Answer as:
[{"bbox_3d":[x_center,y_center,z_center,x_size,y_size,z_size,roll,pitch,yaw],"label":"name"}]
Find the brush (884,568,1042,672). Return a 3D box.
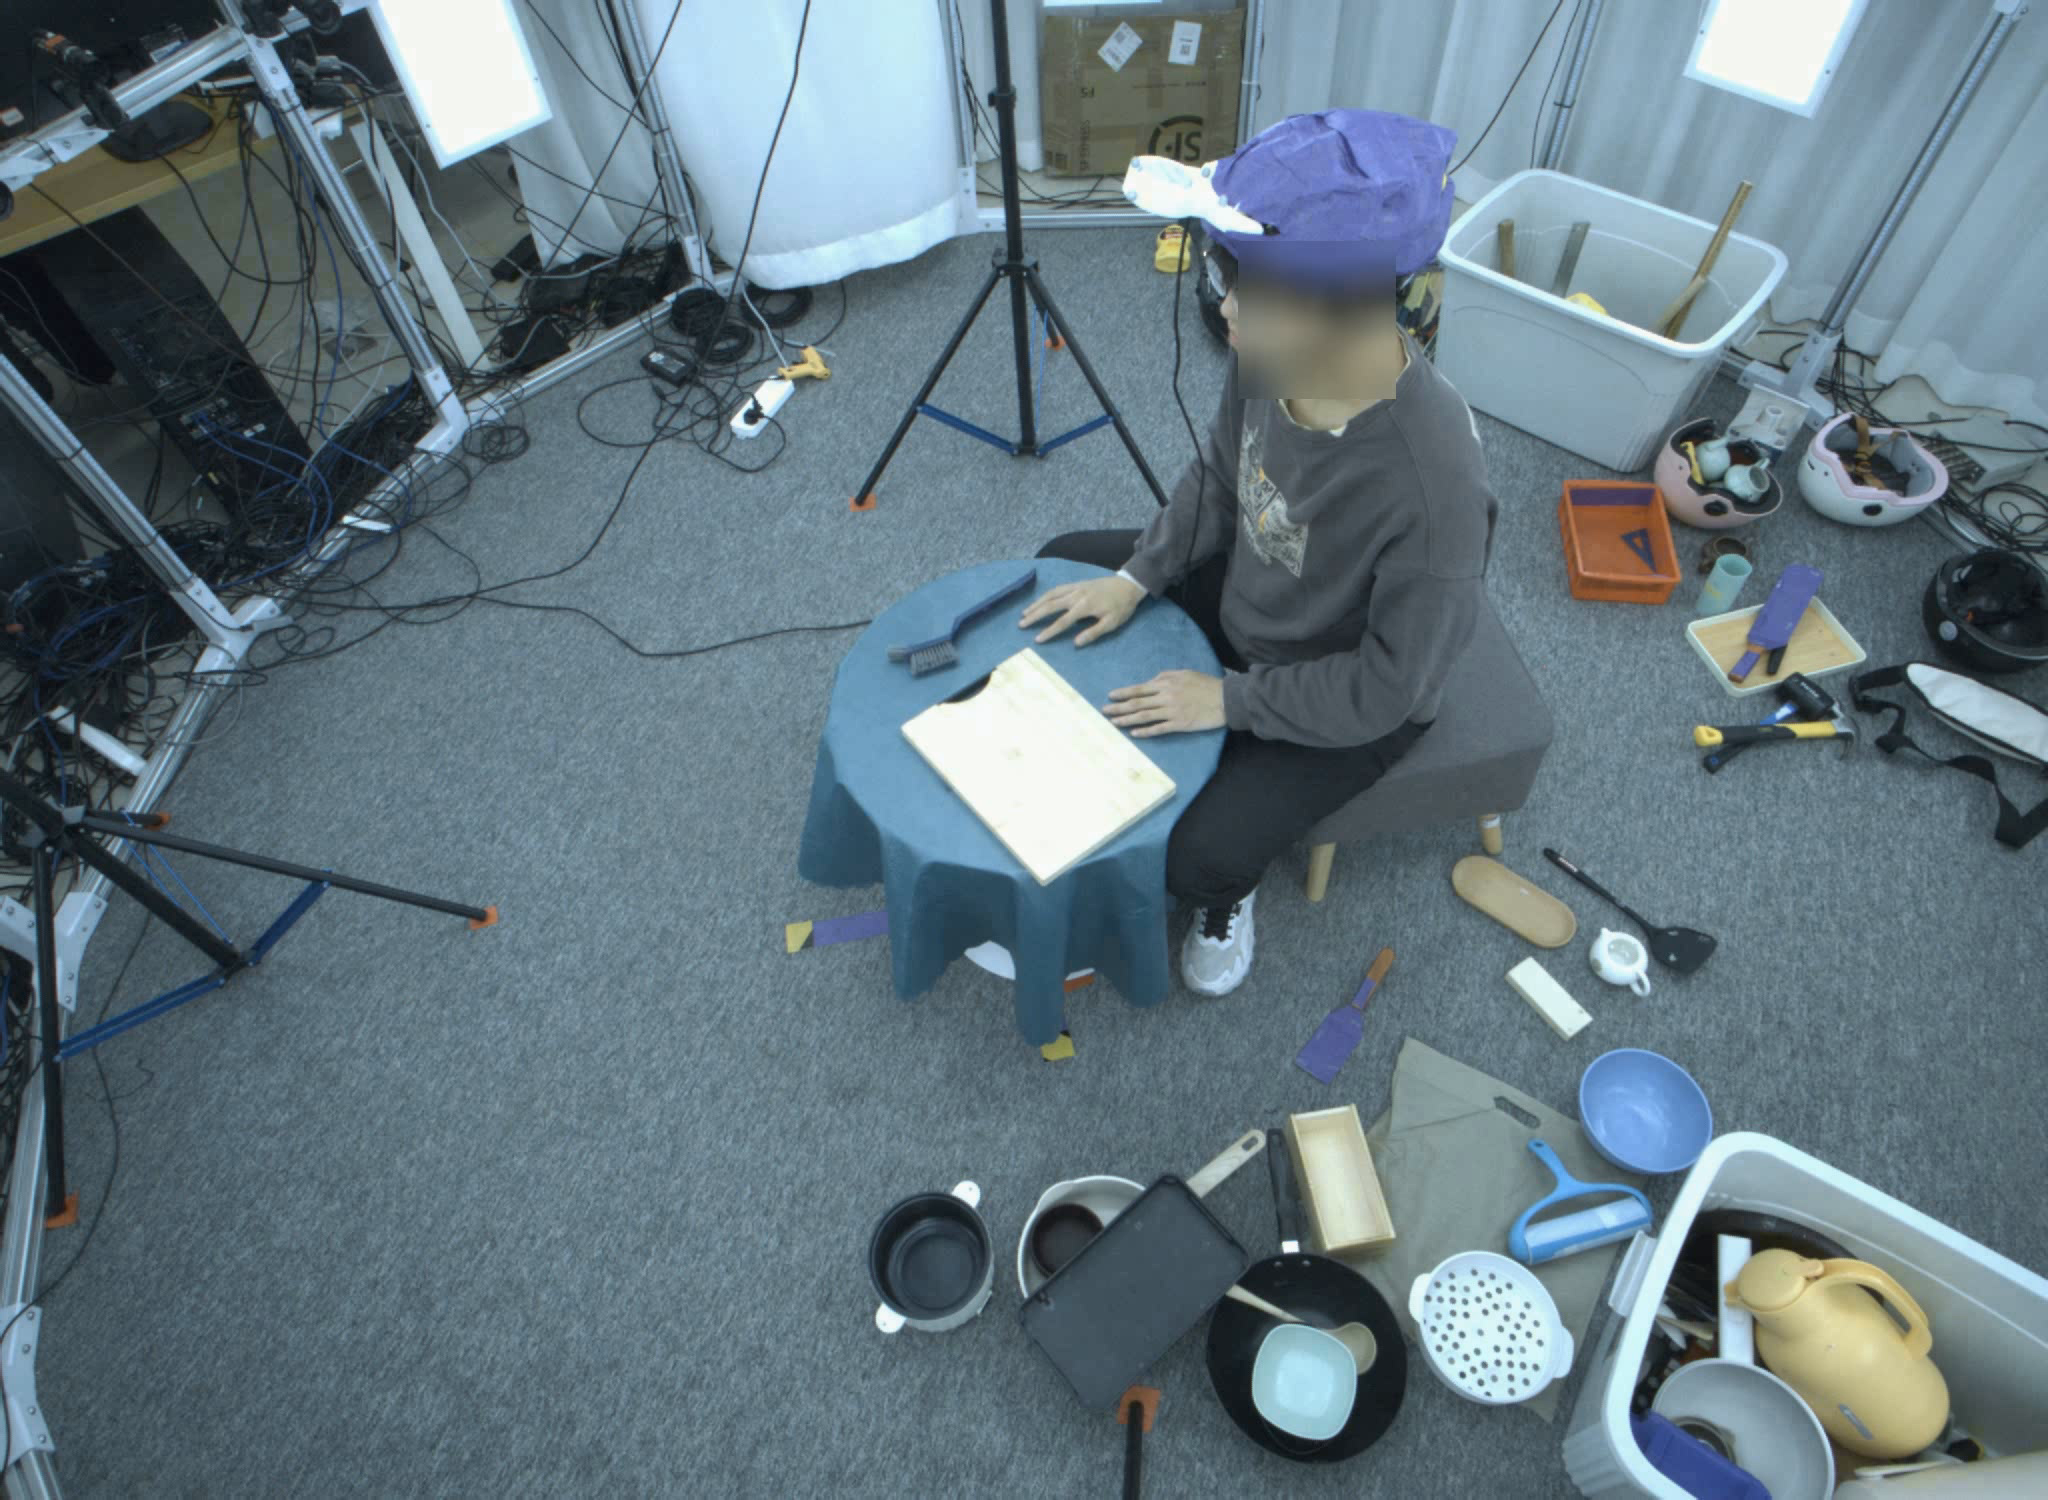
[{"bbox_3d":[-0.089,-0.213,1.922,0.094,0.034,0.275,38,65,25],"label":"brush"}]

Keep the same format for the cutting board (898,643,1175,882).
[{"bbox_3d":[0.013,0.009,1.768,0.253,0.024,0.342,-34,60,-21],"label":"cutting board"}]
